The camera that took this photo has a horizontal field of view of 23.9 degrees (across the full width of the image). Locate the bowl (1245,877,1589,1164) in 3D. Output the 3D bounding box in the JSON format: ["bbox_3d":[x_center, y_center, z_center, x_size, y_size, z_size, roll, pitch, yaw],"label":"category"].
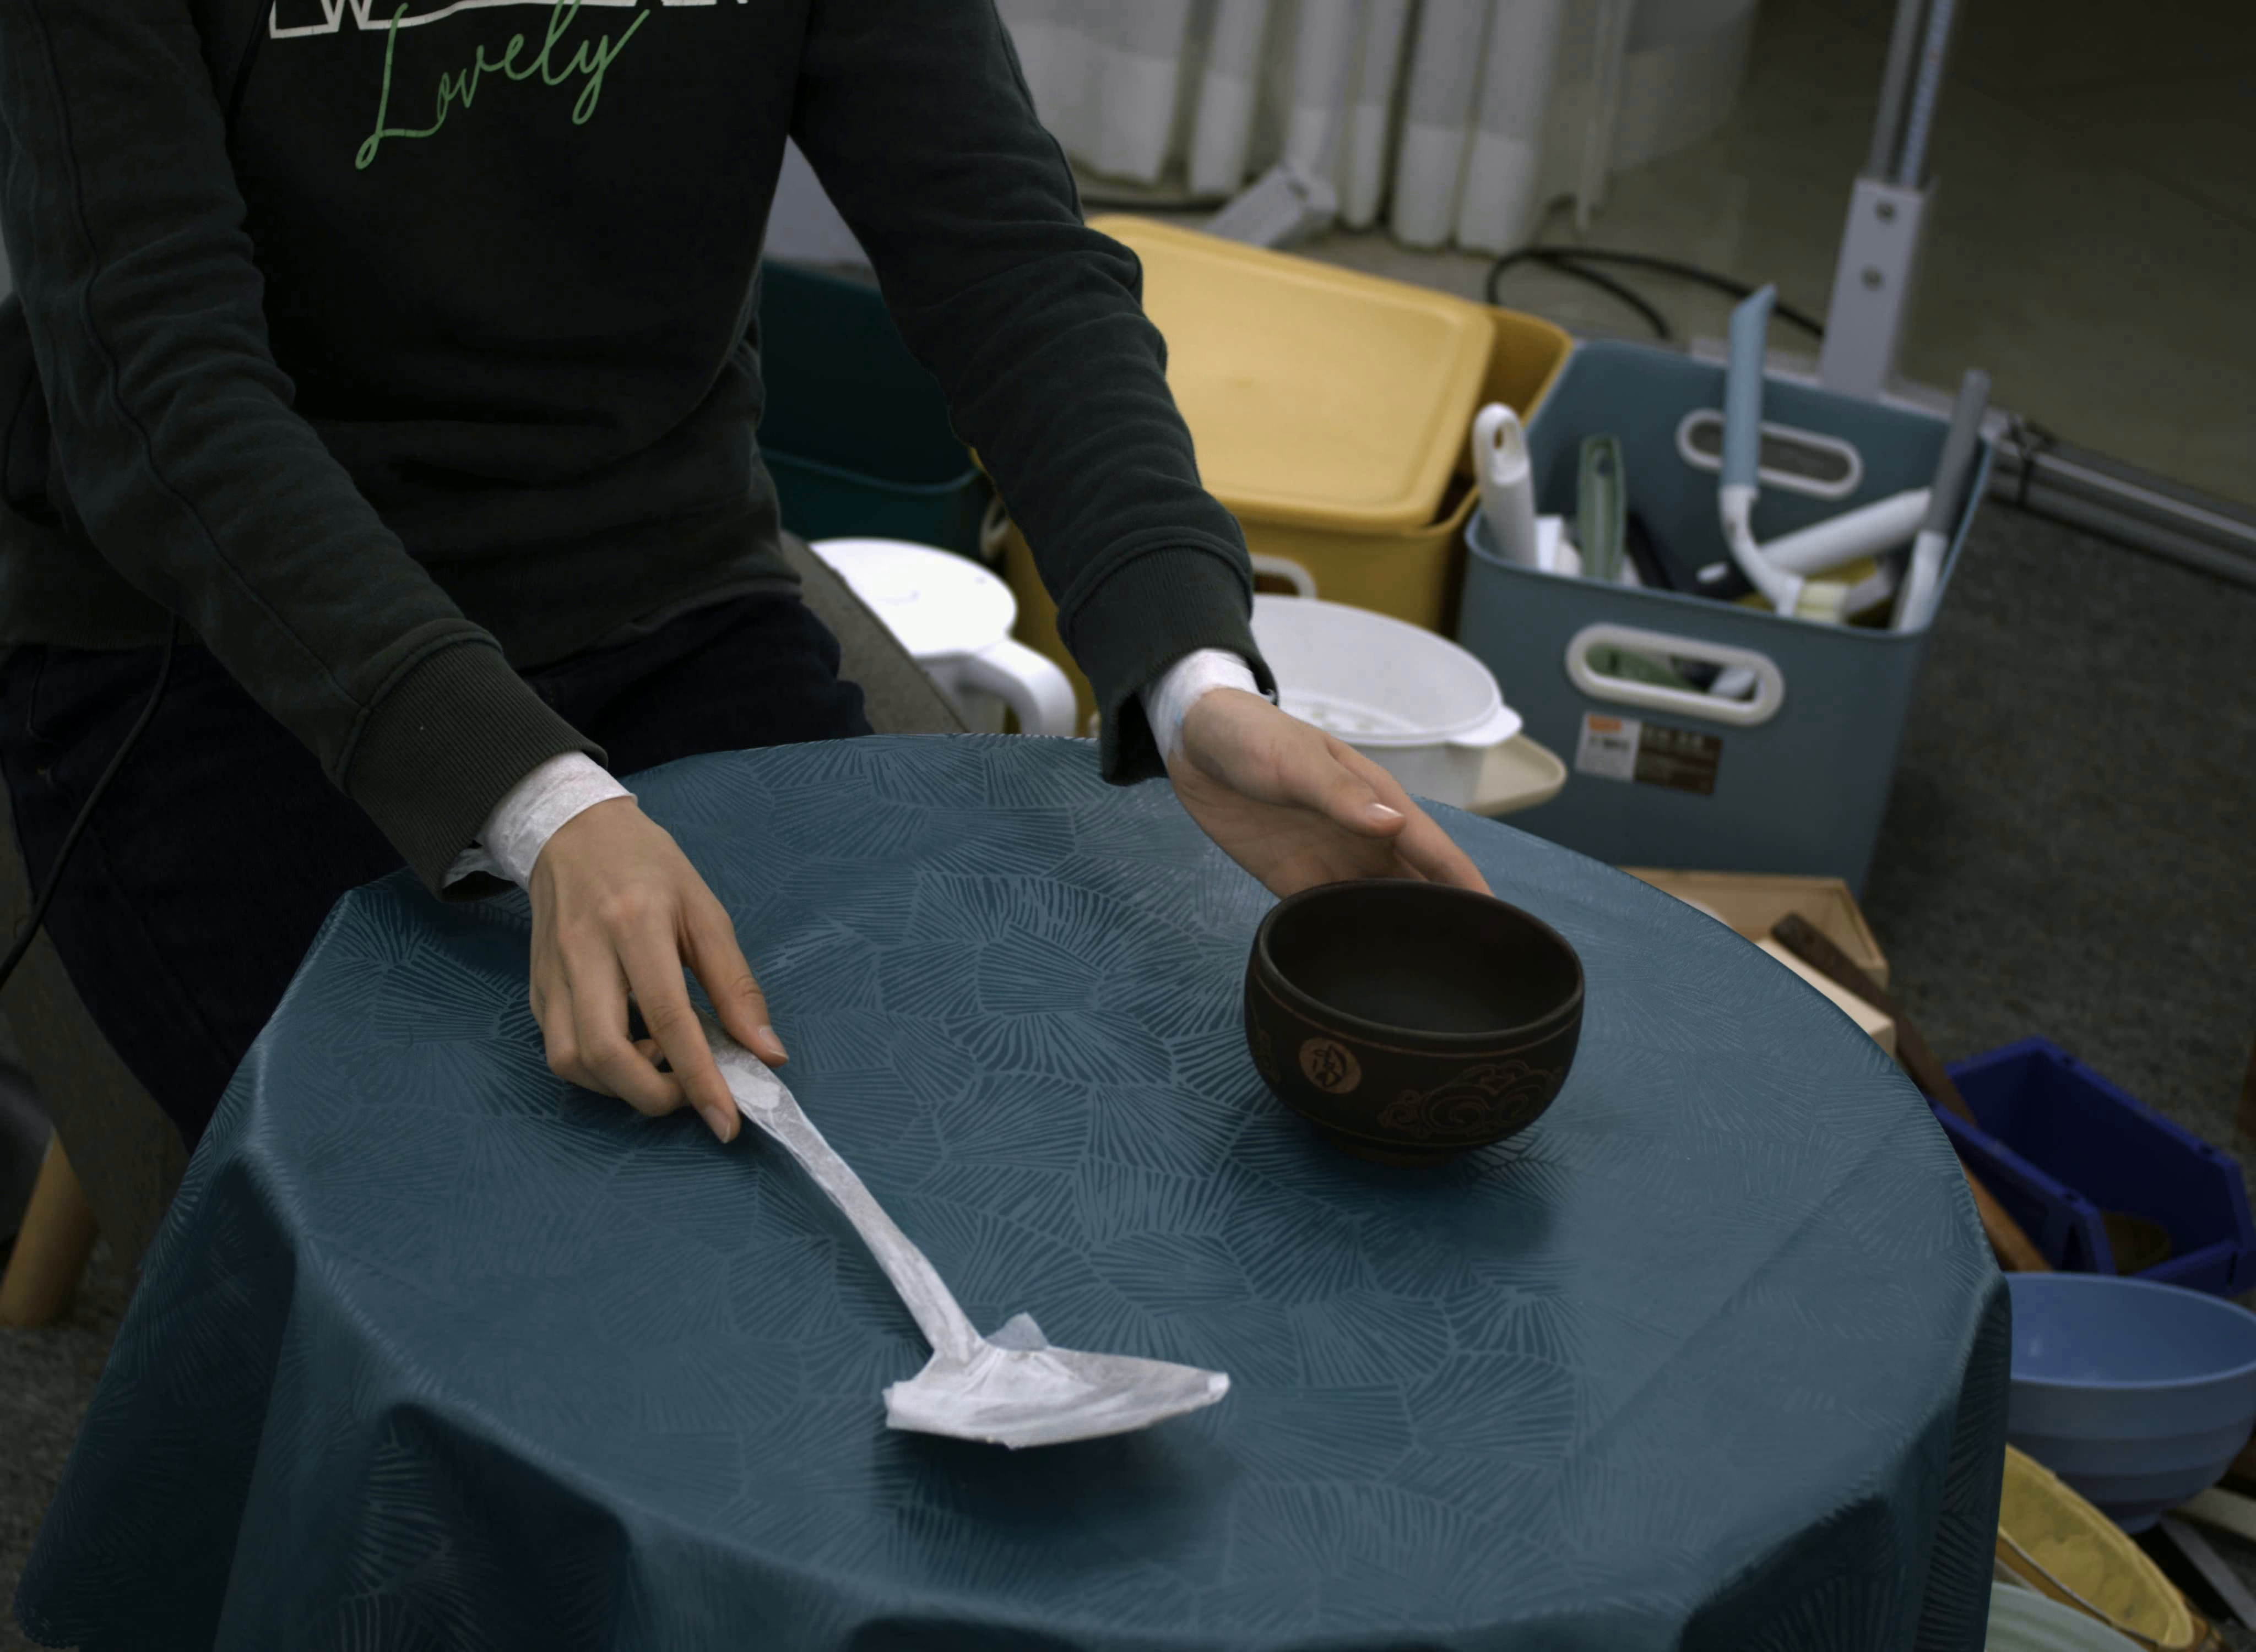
[{"bbox_3d":[0.097,0.074,1.842,0.117,0.069,0.119,6,25,-3],"label":"bowl"}]

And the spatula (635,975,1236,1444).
[{"bbox_3d":[-0.088,0.118,1.750,0.098,0.044,0.368,-10,31,-27],"label":"spatula"}]
